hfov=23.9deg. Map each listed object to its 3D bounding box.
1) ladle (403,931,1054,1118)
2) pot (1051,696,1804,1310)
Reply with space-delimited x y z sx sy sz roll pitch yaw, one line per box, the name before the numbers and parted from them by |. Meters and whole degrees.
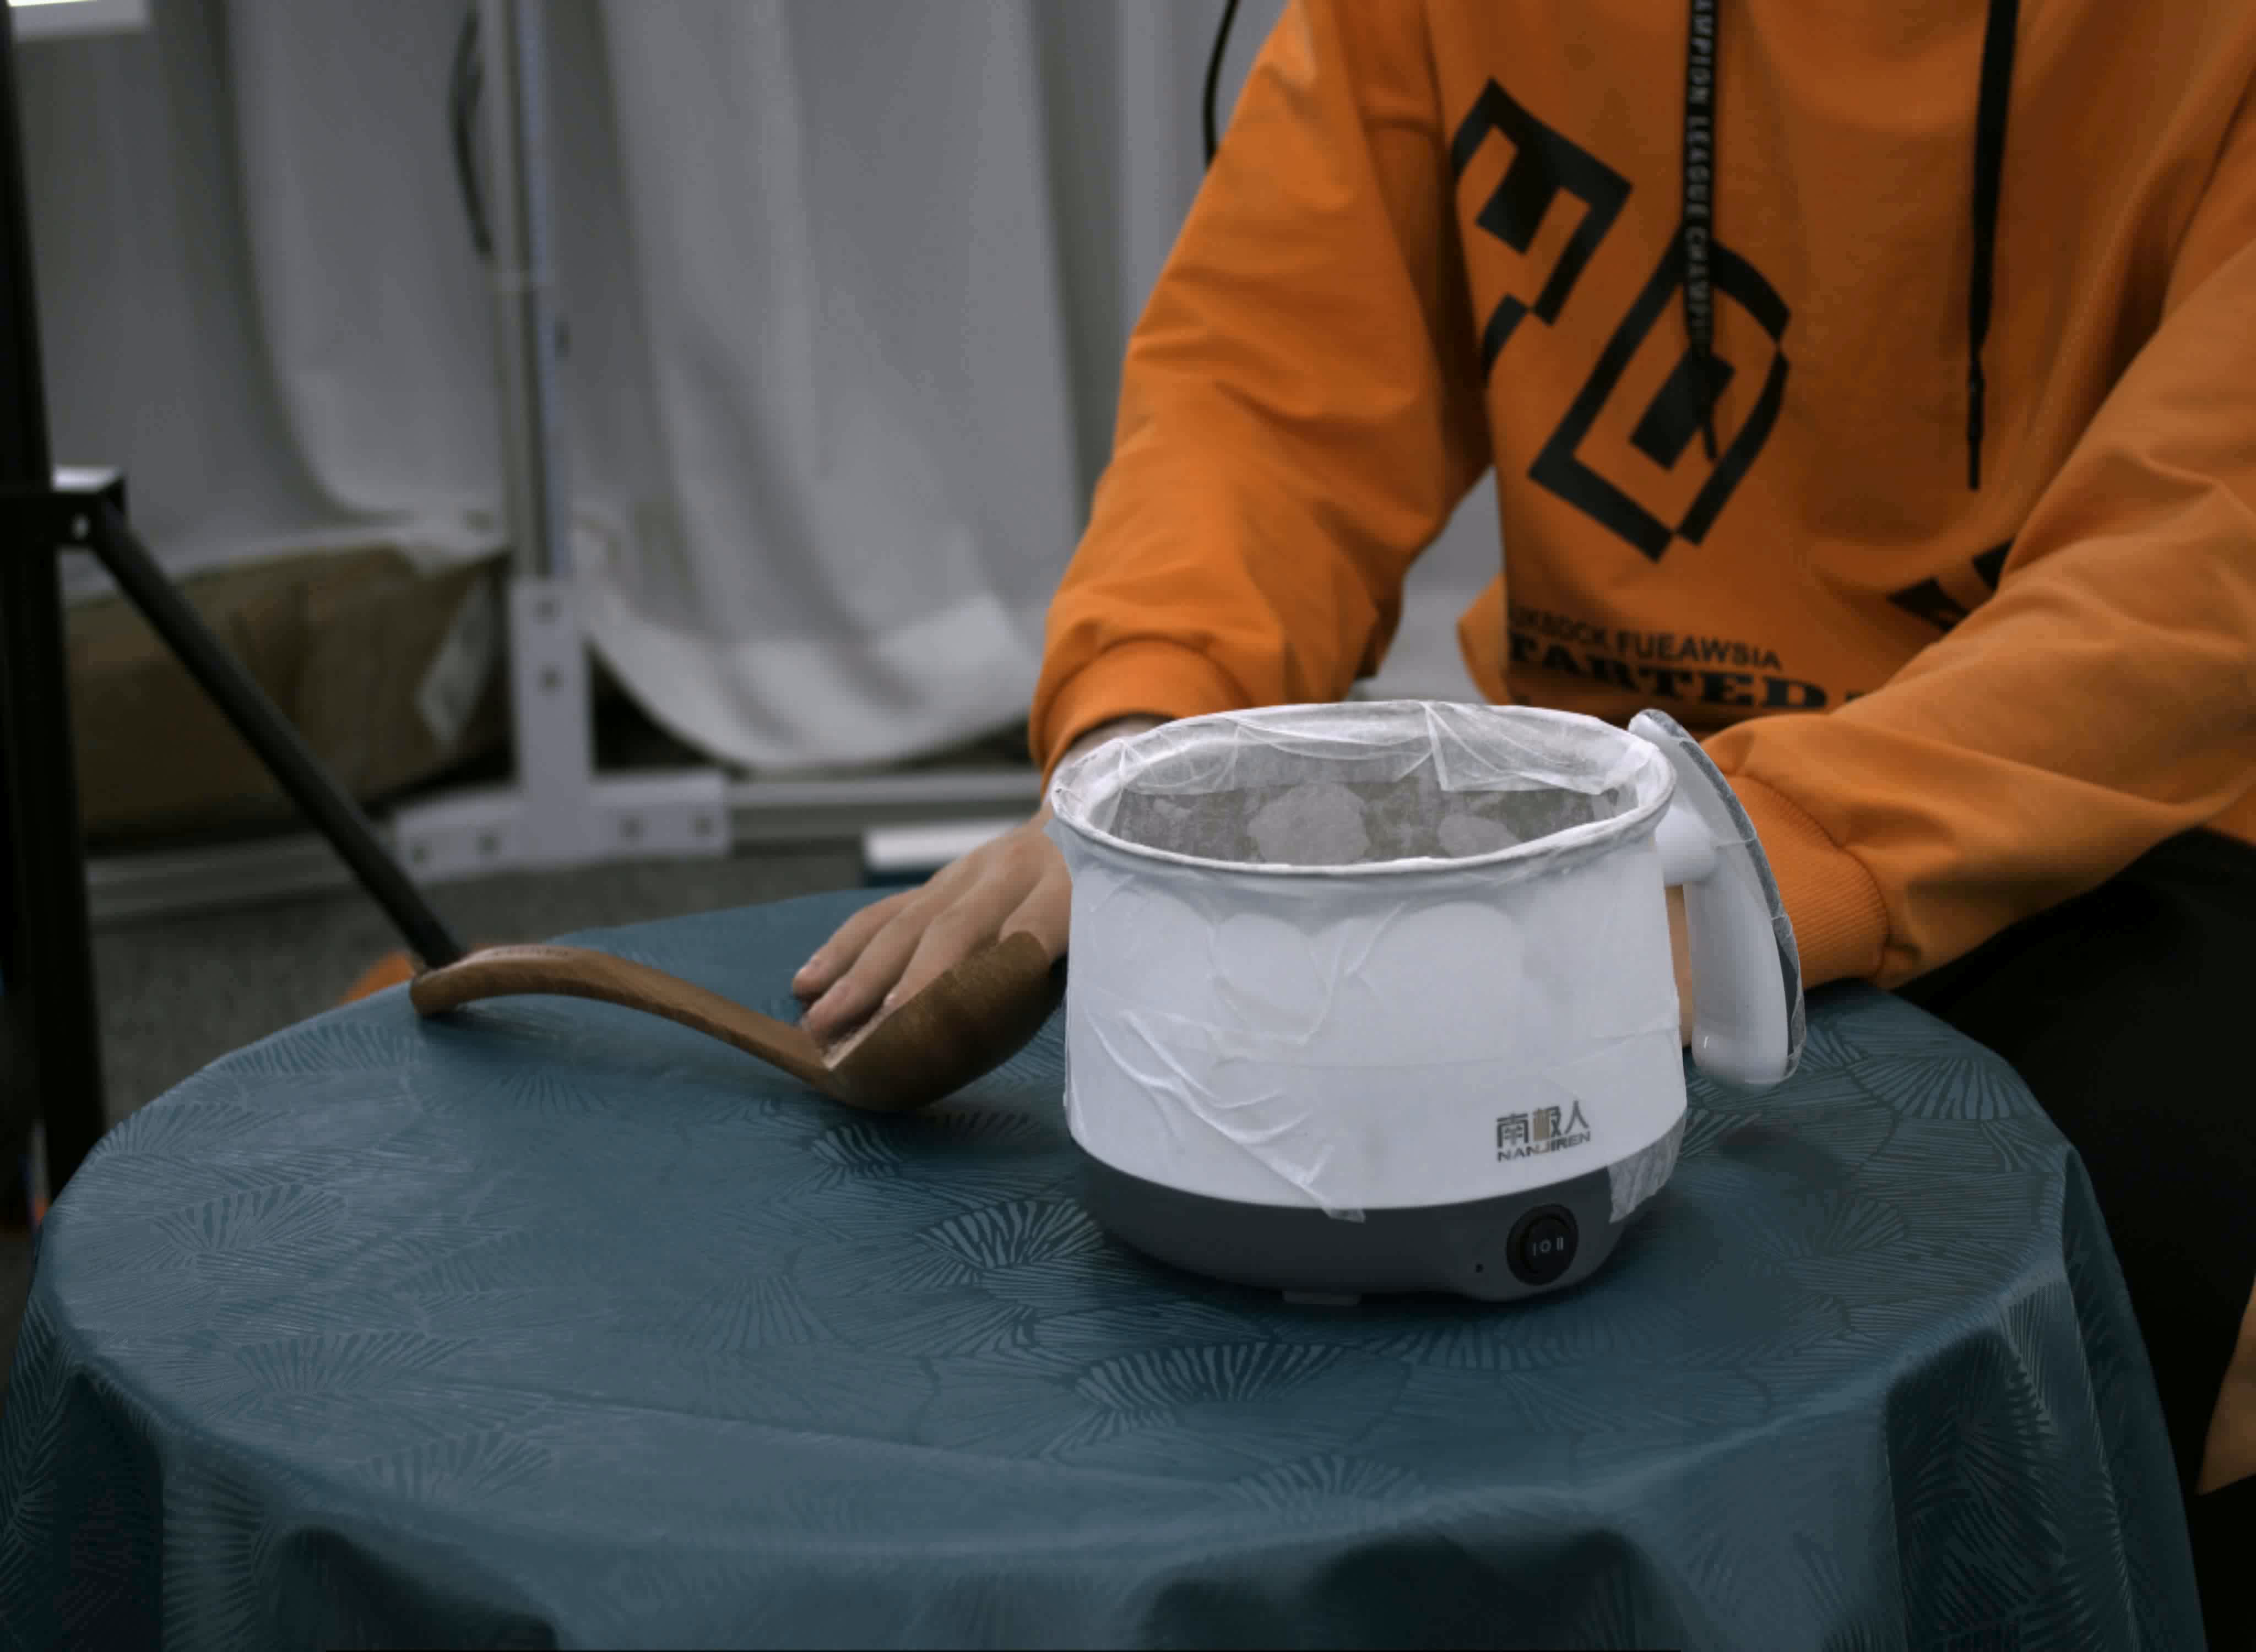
ladle | -0.133 0.047 1.678 0.266 0.065 0.075 10 17 38
pot | 0.092 0.043 1.518 0.228 0.136 0.182 -11 18 -28
